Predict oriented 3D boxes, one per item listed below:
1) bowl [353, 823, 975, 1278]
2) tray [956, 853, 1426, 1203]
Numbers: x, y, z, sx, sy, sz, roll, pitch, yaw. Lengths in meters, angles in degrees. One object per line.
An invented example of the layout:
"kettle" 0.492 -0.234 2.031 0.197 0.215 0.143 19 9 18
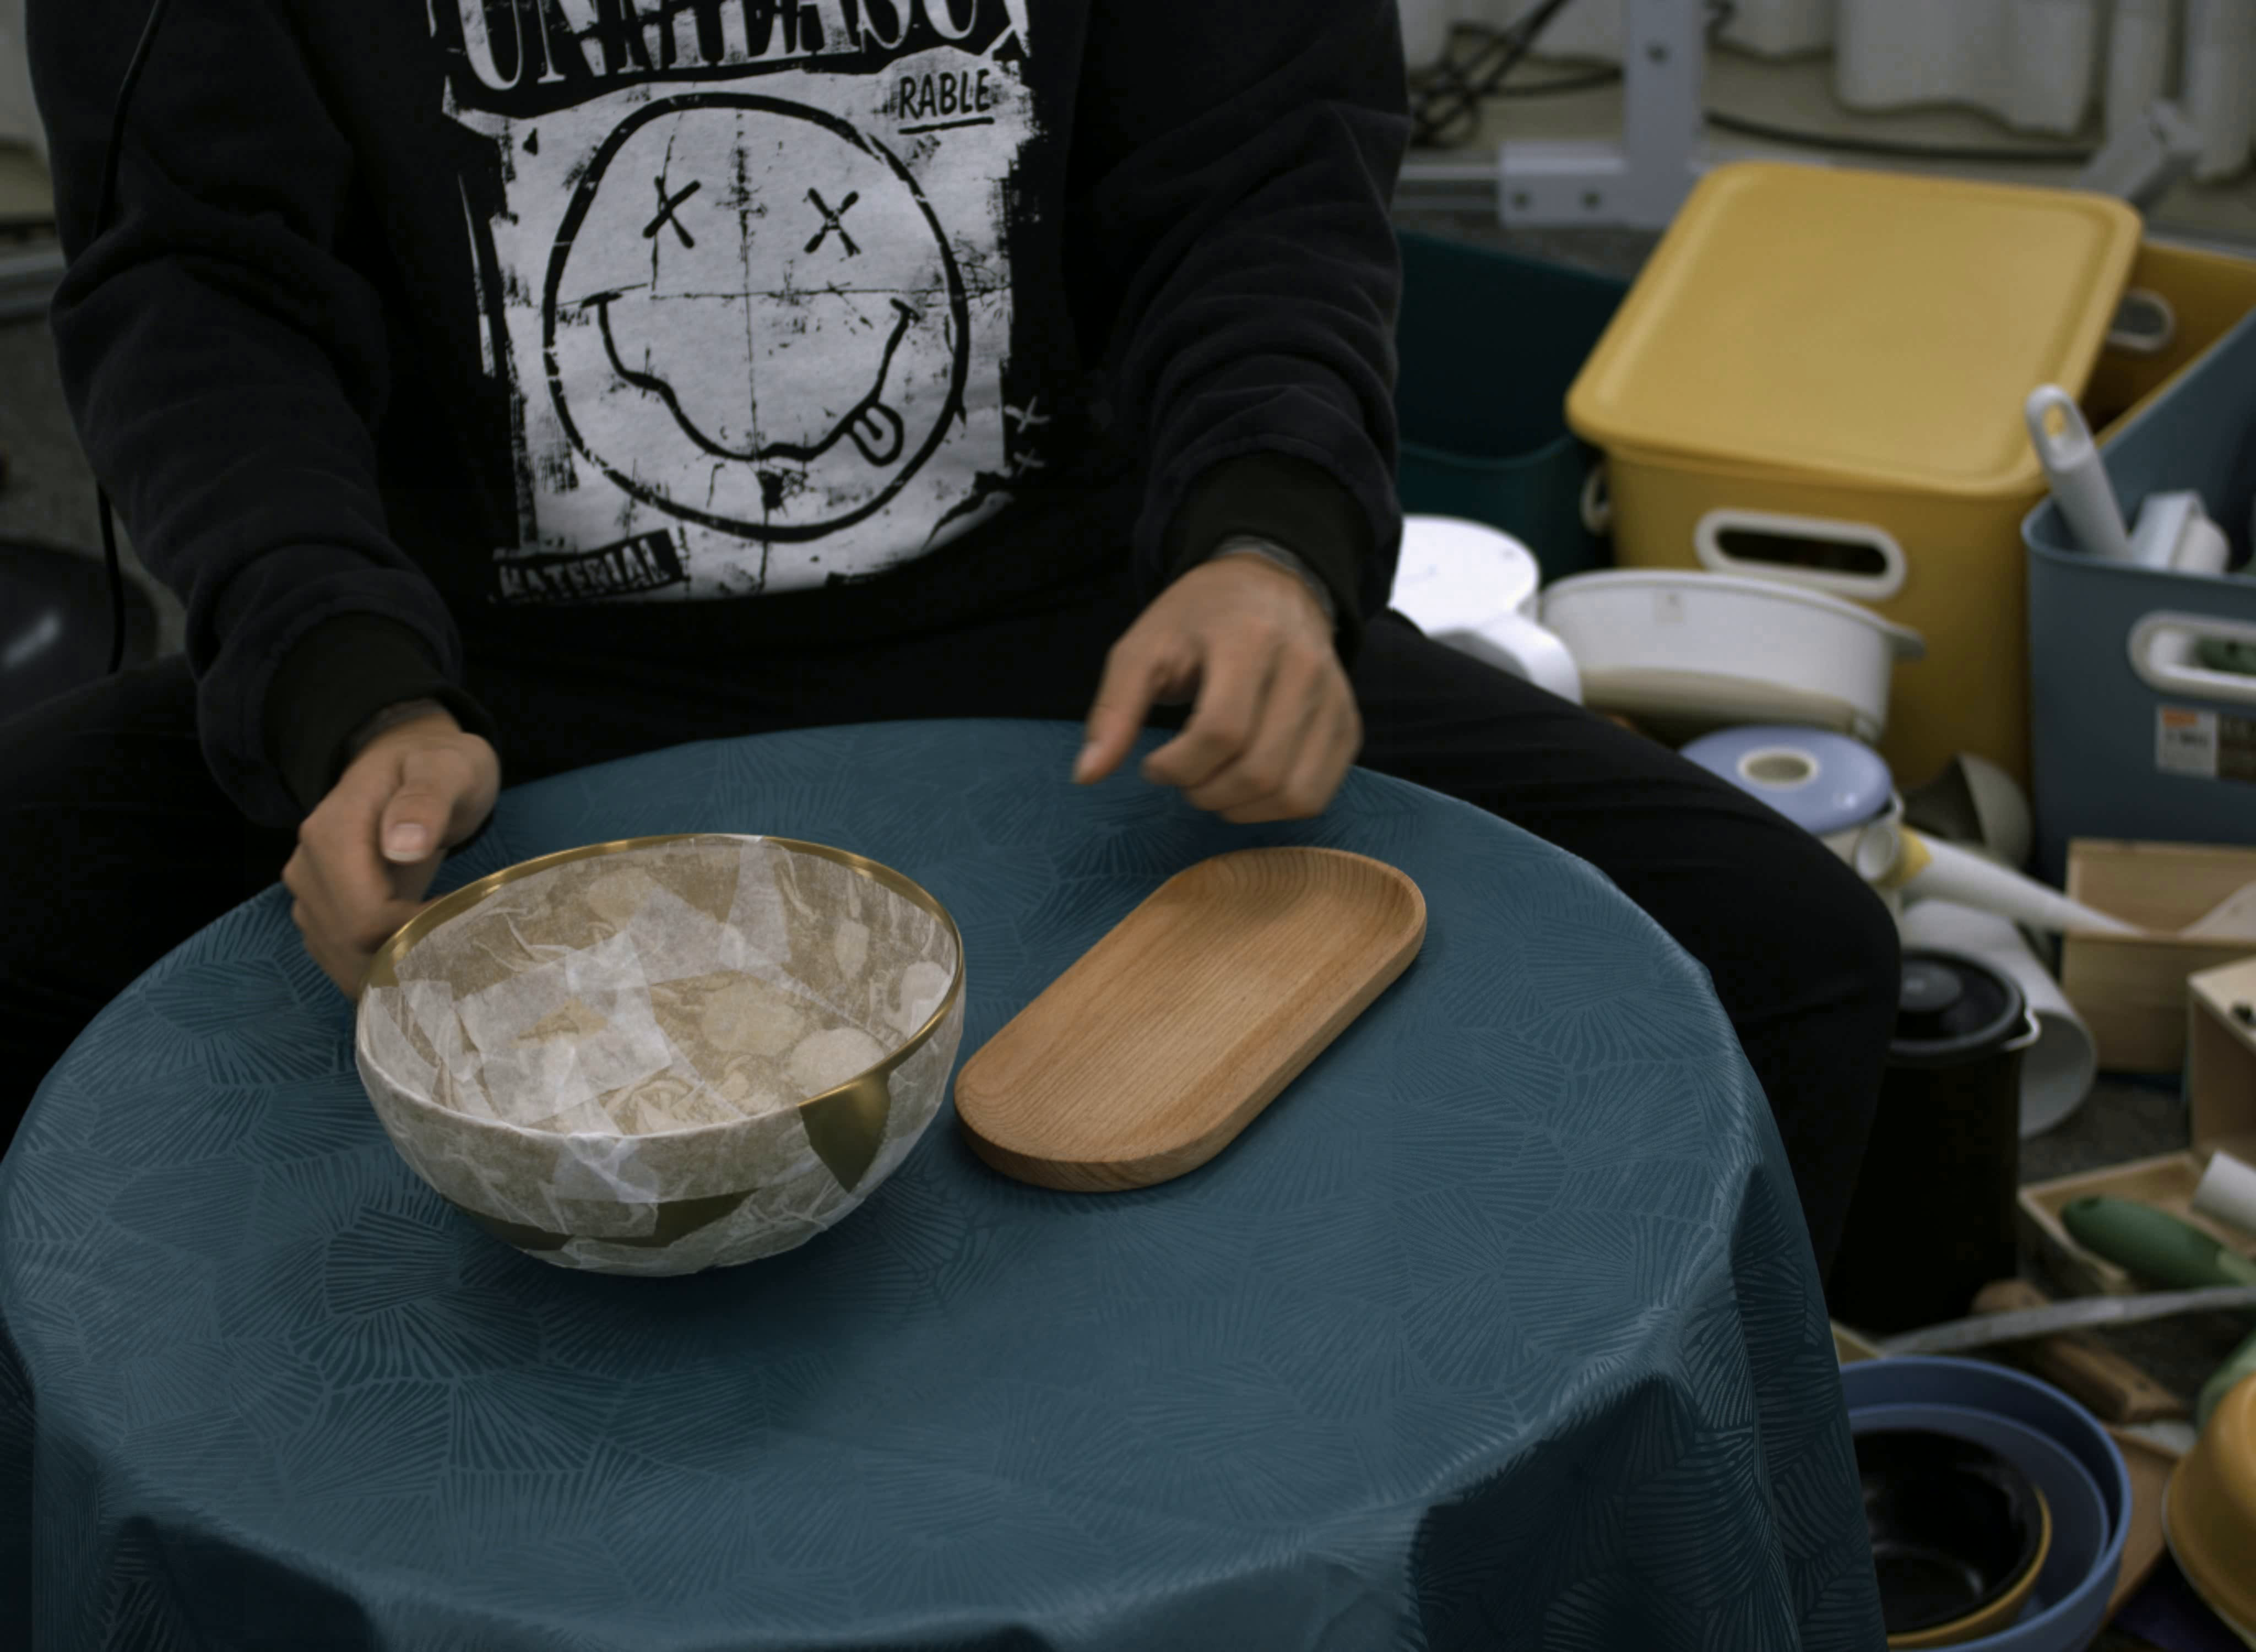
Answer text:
"bowl" -0.146 0.086 1.844 0.213 0.093 0.218 -3 27 2
"tray" 0.024 0.068 1.946 0.101 0.020 0.235 9 31 27
